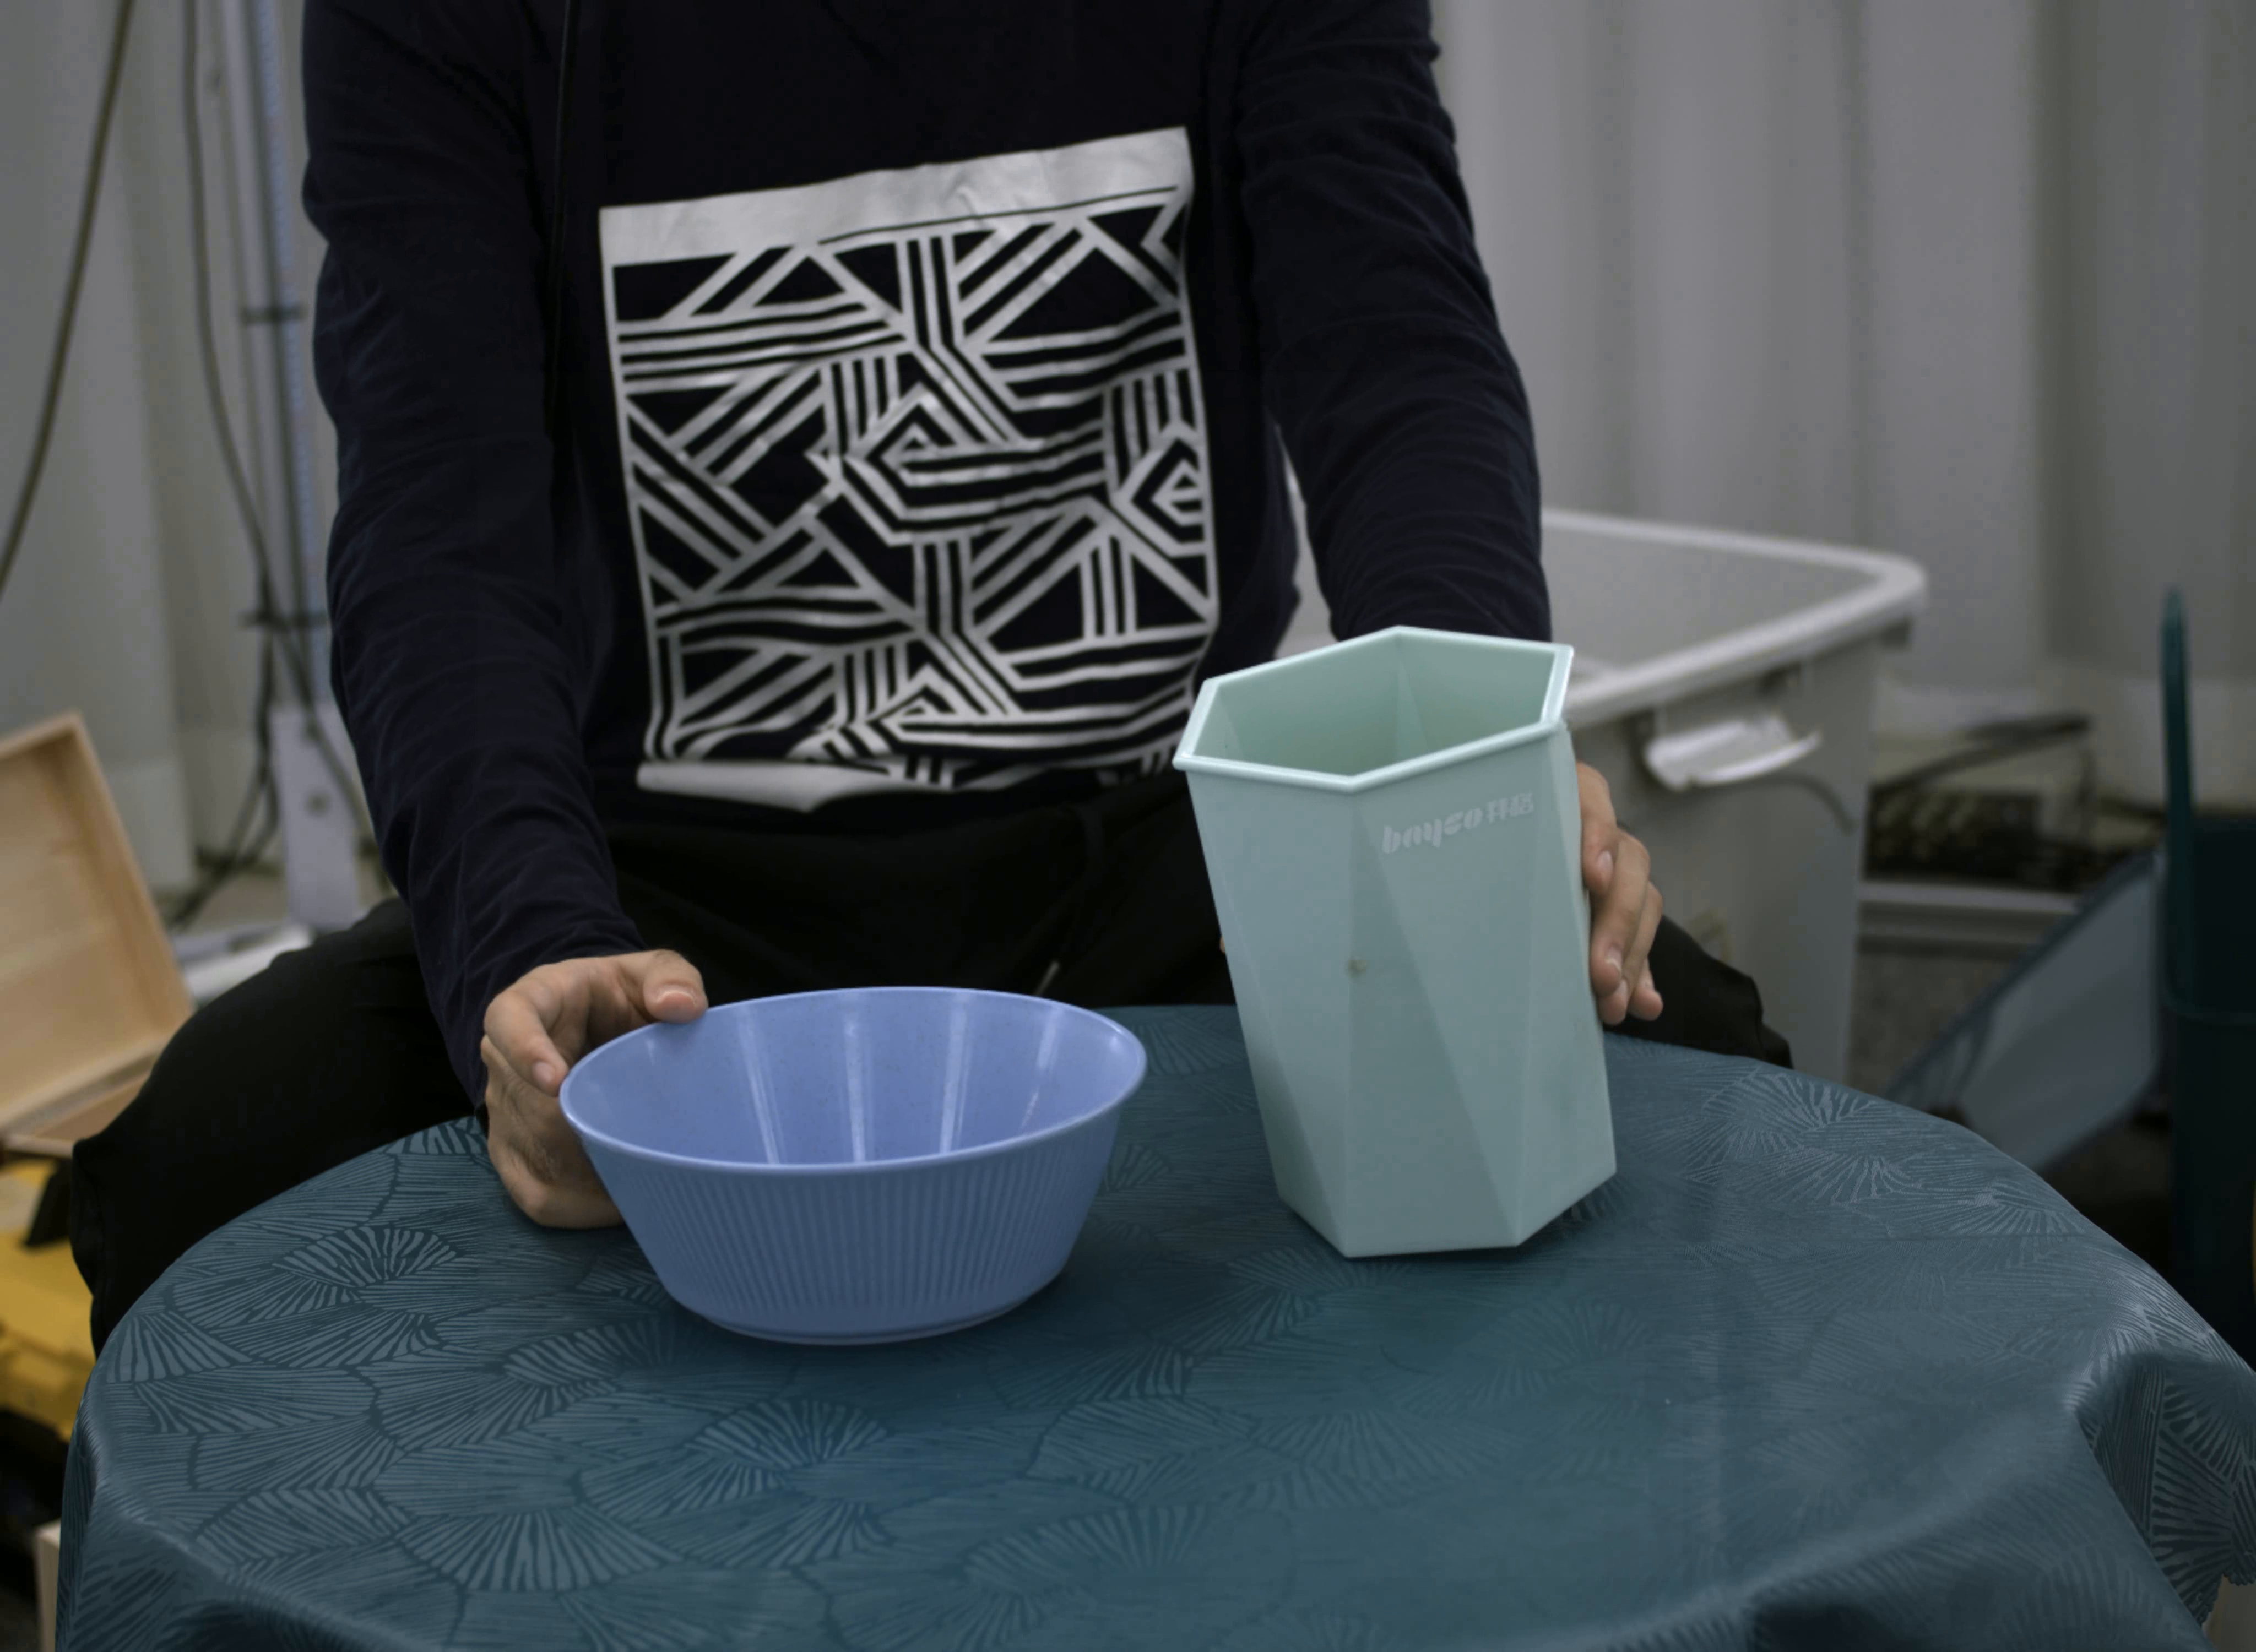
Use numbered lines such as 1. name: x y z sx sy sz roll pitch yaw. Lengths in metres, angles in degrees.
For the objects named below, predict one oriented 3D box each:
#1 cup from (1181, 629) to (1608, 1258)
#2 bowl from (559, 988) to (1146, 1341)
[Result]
1. cup: 0.086 0.037 1.648 0.130 0.162 0.116 -15 19 -20
2. bowl: -0.081 0.104 1.636 0.175 0.070 0.177 -3 15 0
